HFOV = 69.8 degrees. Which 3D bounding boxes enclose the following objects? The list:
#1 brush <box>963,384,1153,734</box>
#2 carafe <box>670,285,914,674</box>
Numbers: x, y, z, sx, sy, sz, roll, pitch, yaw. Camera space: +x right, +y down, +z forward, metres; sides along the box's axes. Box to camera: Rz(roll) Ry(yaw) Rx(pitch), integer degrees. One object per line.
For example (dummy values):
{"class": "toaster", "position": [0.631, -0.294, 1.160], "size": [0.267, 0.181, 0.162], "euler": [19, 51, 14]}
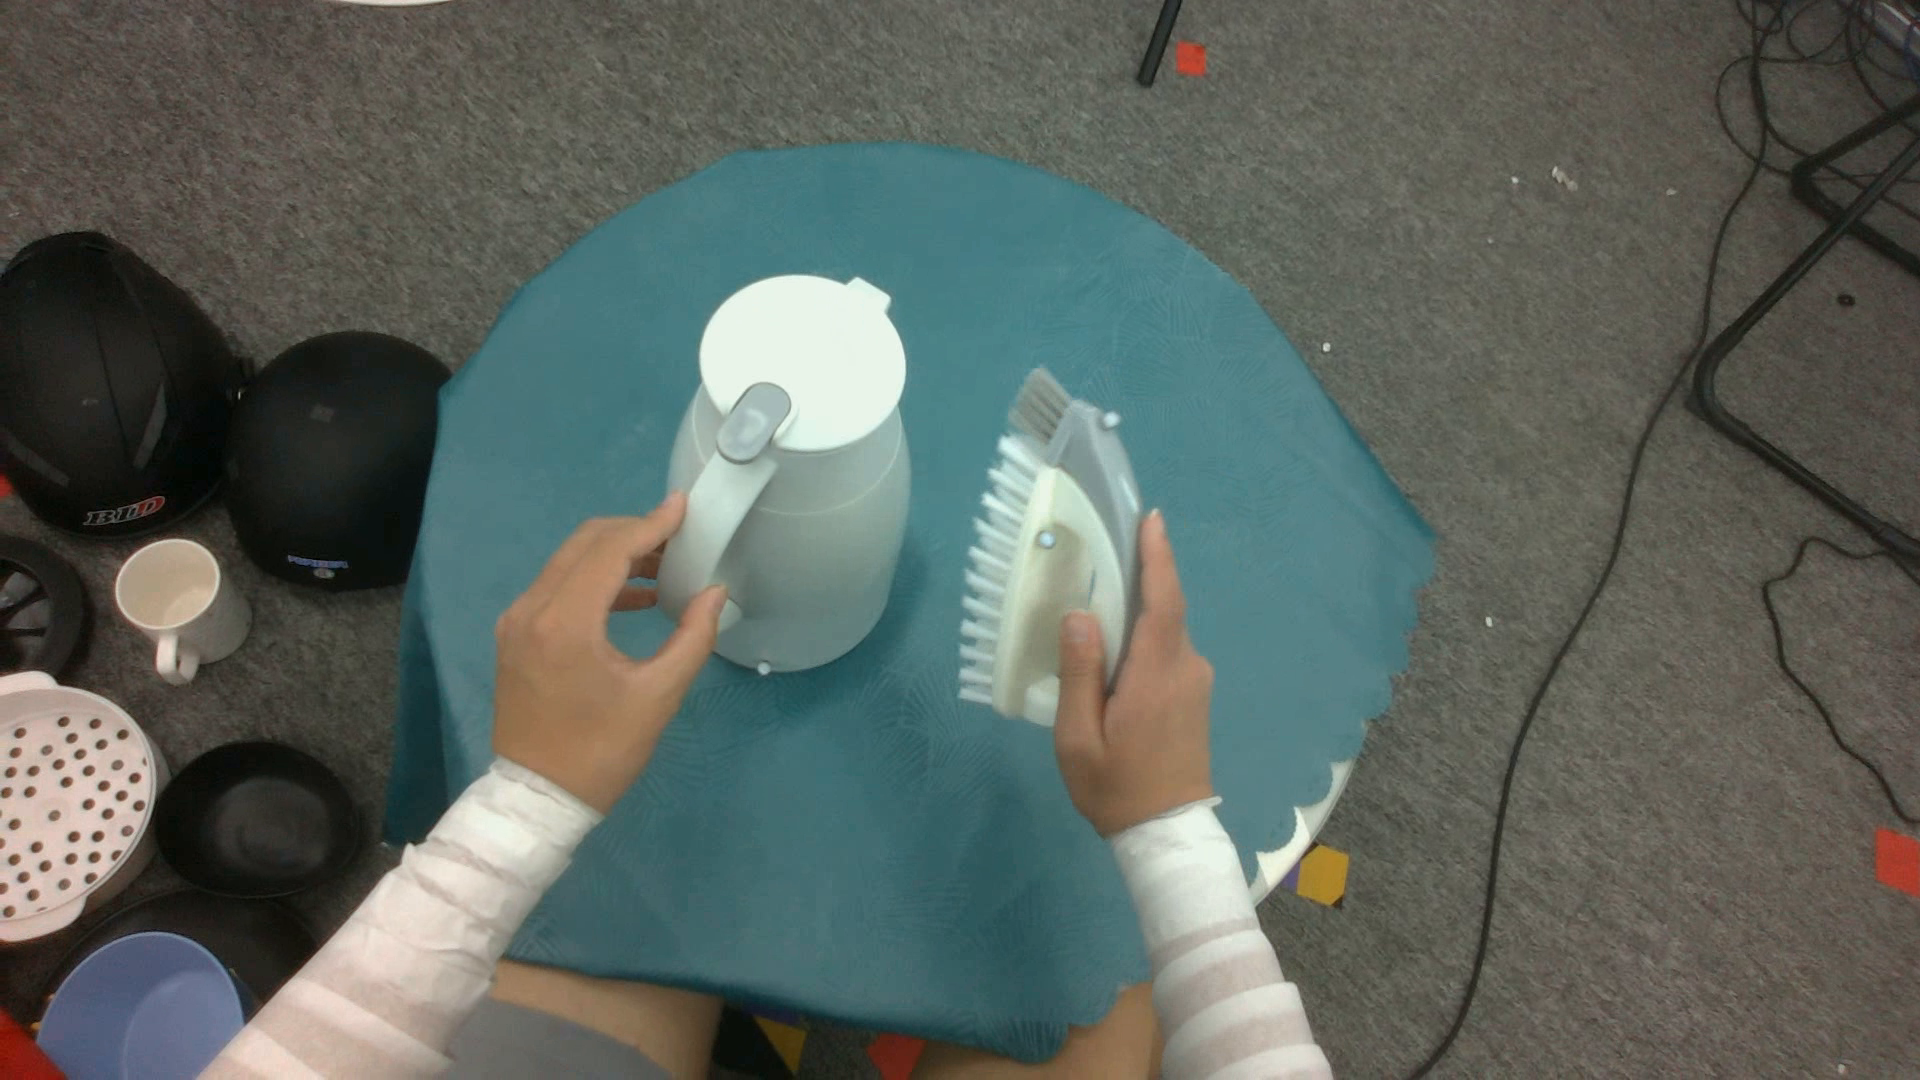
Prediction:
{"class": "brush", "position": [0.051, 0.015, 0.674], "size": [0.094, 0.175, 0.062], "euler": [20, 29, 34]}
{"class": "carafe", "position": [-0.095, -0.015, 0.721], "size": [0.132, 0.247, 0.168], "euler": [28, 65, 4]}
